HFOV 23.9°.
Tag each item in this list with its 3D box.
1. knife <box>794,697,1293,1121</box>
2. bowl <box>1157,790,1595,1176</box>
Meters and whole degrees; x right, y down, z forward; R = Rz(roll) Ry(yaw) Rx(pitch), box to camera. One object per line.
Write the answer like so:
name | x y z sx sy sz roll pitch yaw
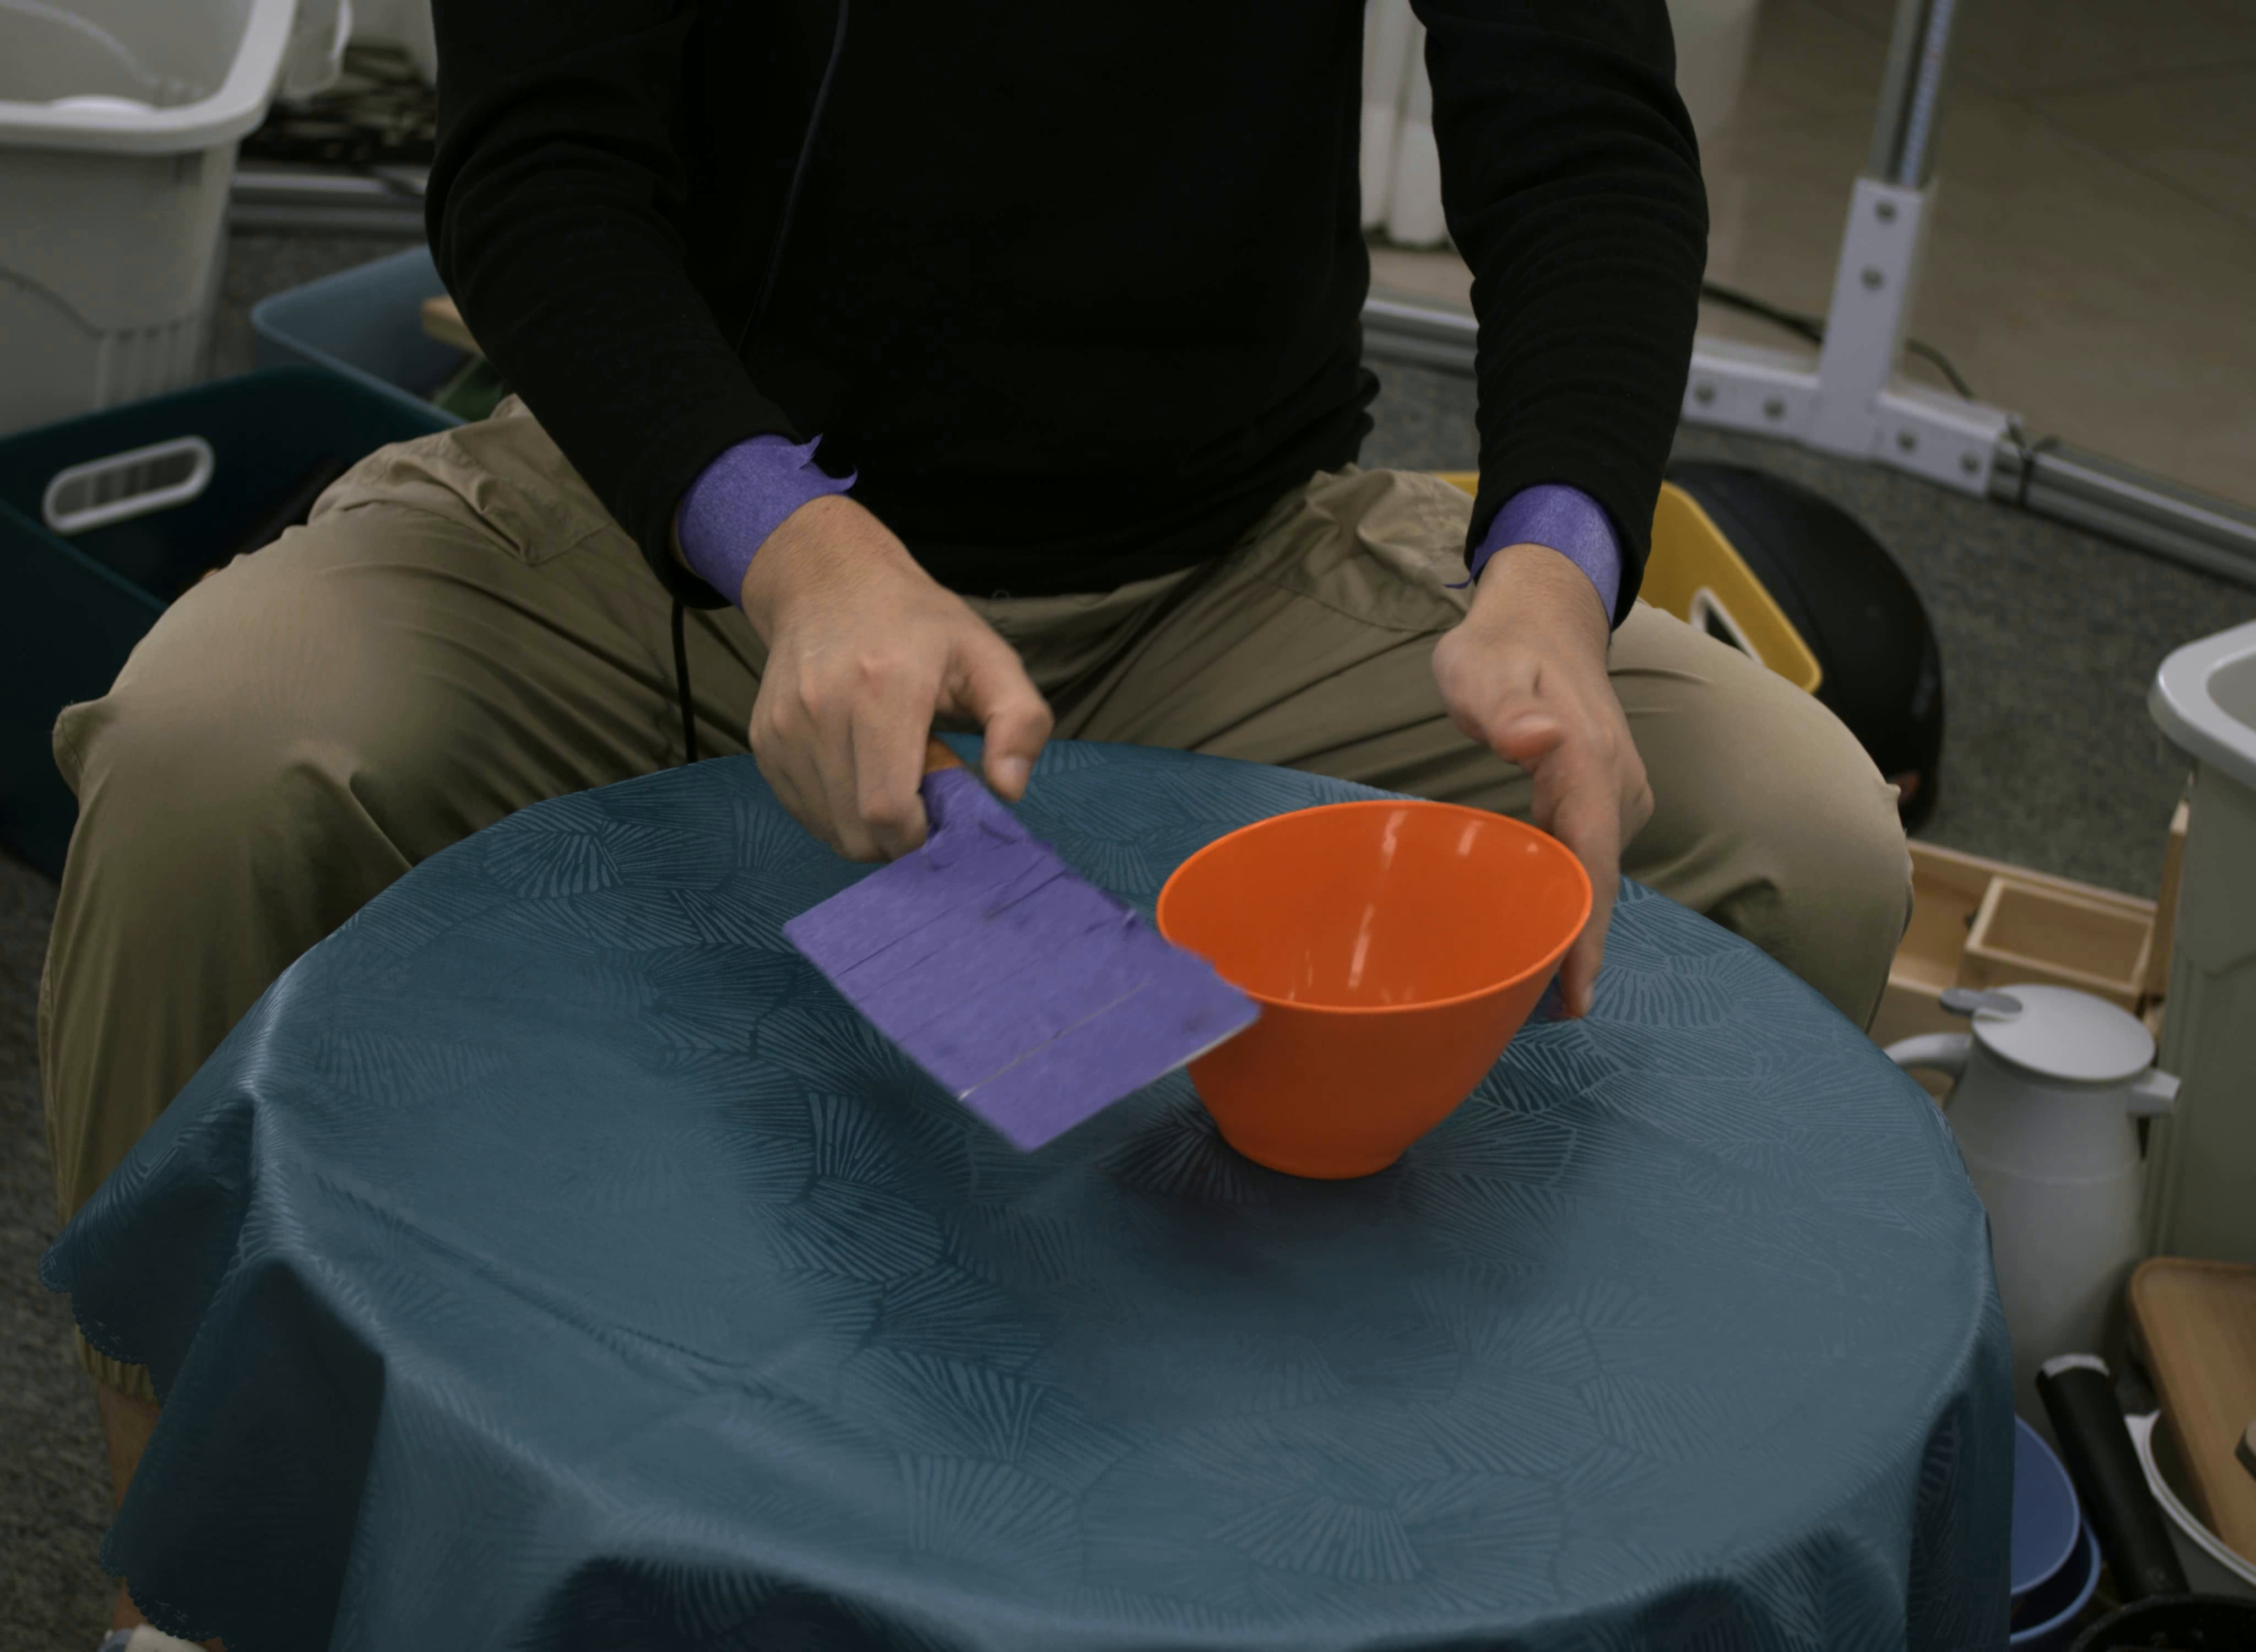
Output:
knife | -0.058 0.024 1.805 0.103 0.032 0.317 -29 27 -16
bowl | 0.079 0.060 1.830 0.147 0.104 0.149 7 30 -4
